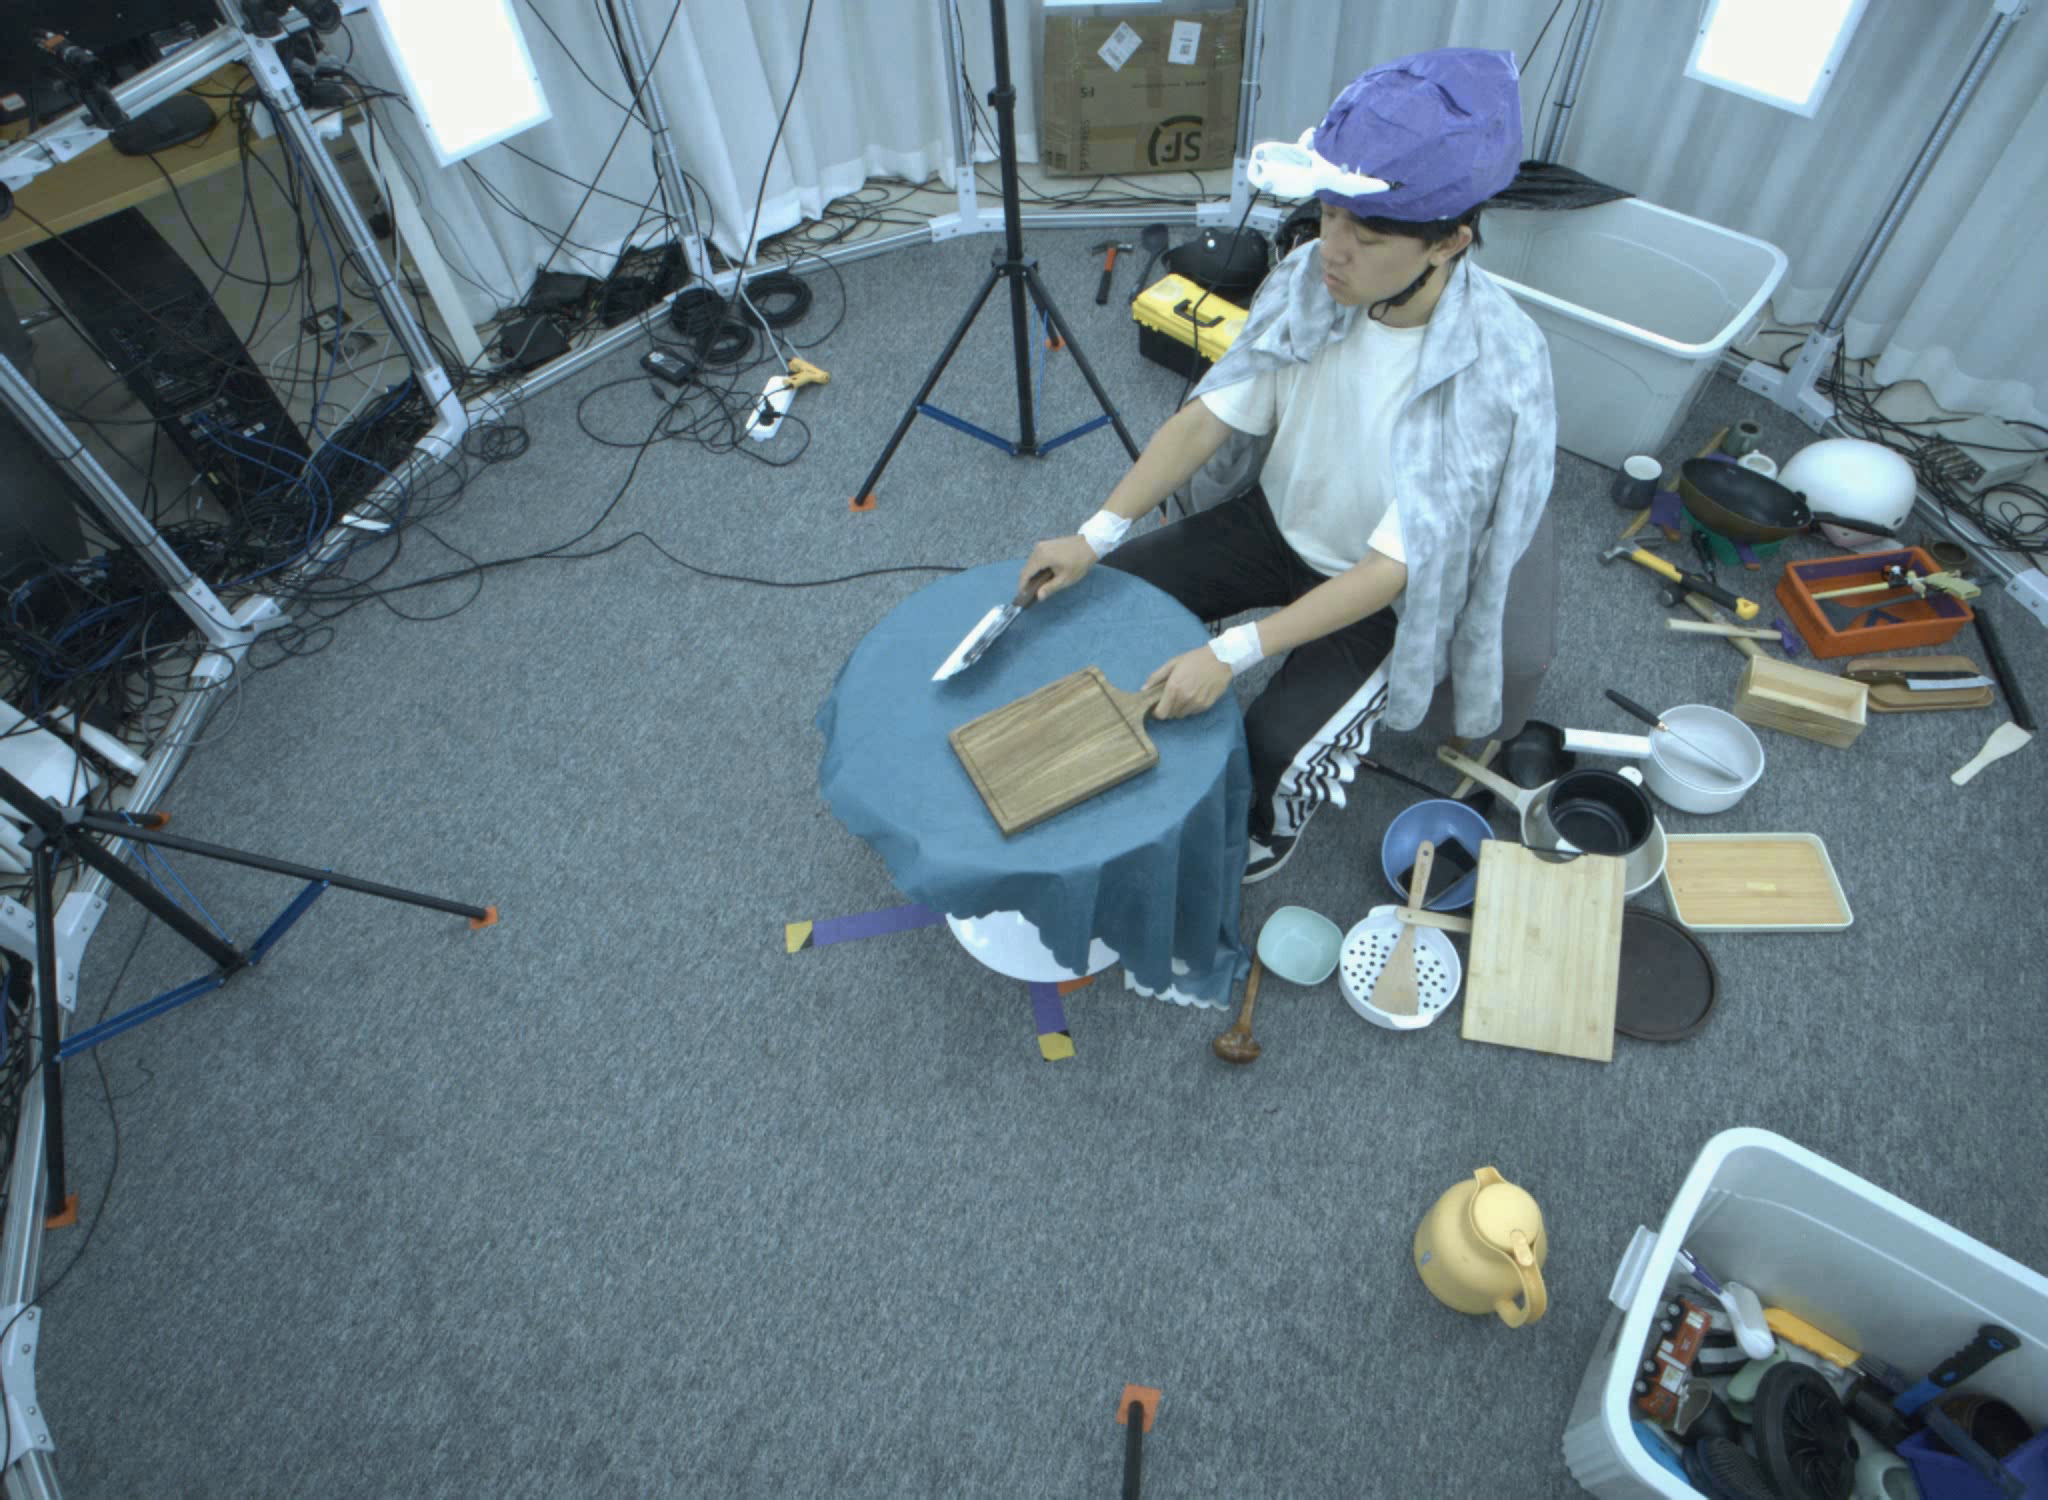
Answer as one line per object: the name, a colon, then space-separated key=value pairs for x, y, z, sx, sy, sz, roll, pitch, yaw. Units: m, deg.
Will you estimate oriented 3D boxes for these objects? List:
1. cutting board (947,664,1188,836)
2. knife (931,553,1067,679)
cutting board: x=0.084 y=-0.026 z=1.779 sx=0.354 sy=0.023 sz=0.197 roll=-26 pitch=58 yaw=-12
knife: x=-0.038 y=-0.207 z=1.891 sx=0.066 sy=0.024 sz=0.301 roll=12 pitch=52 yaw=45
